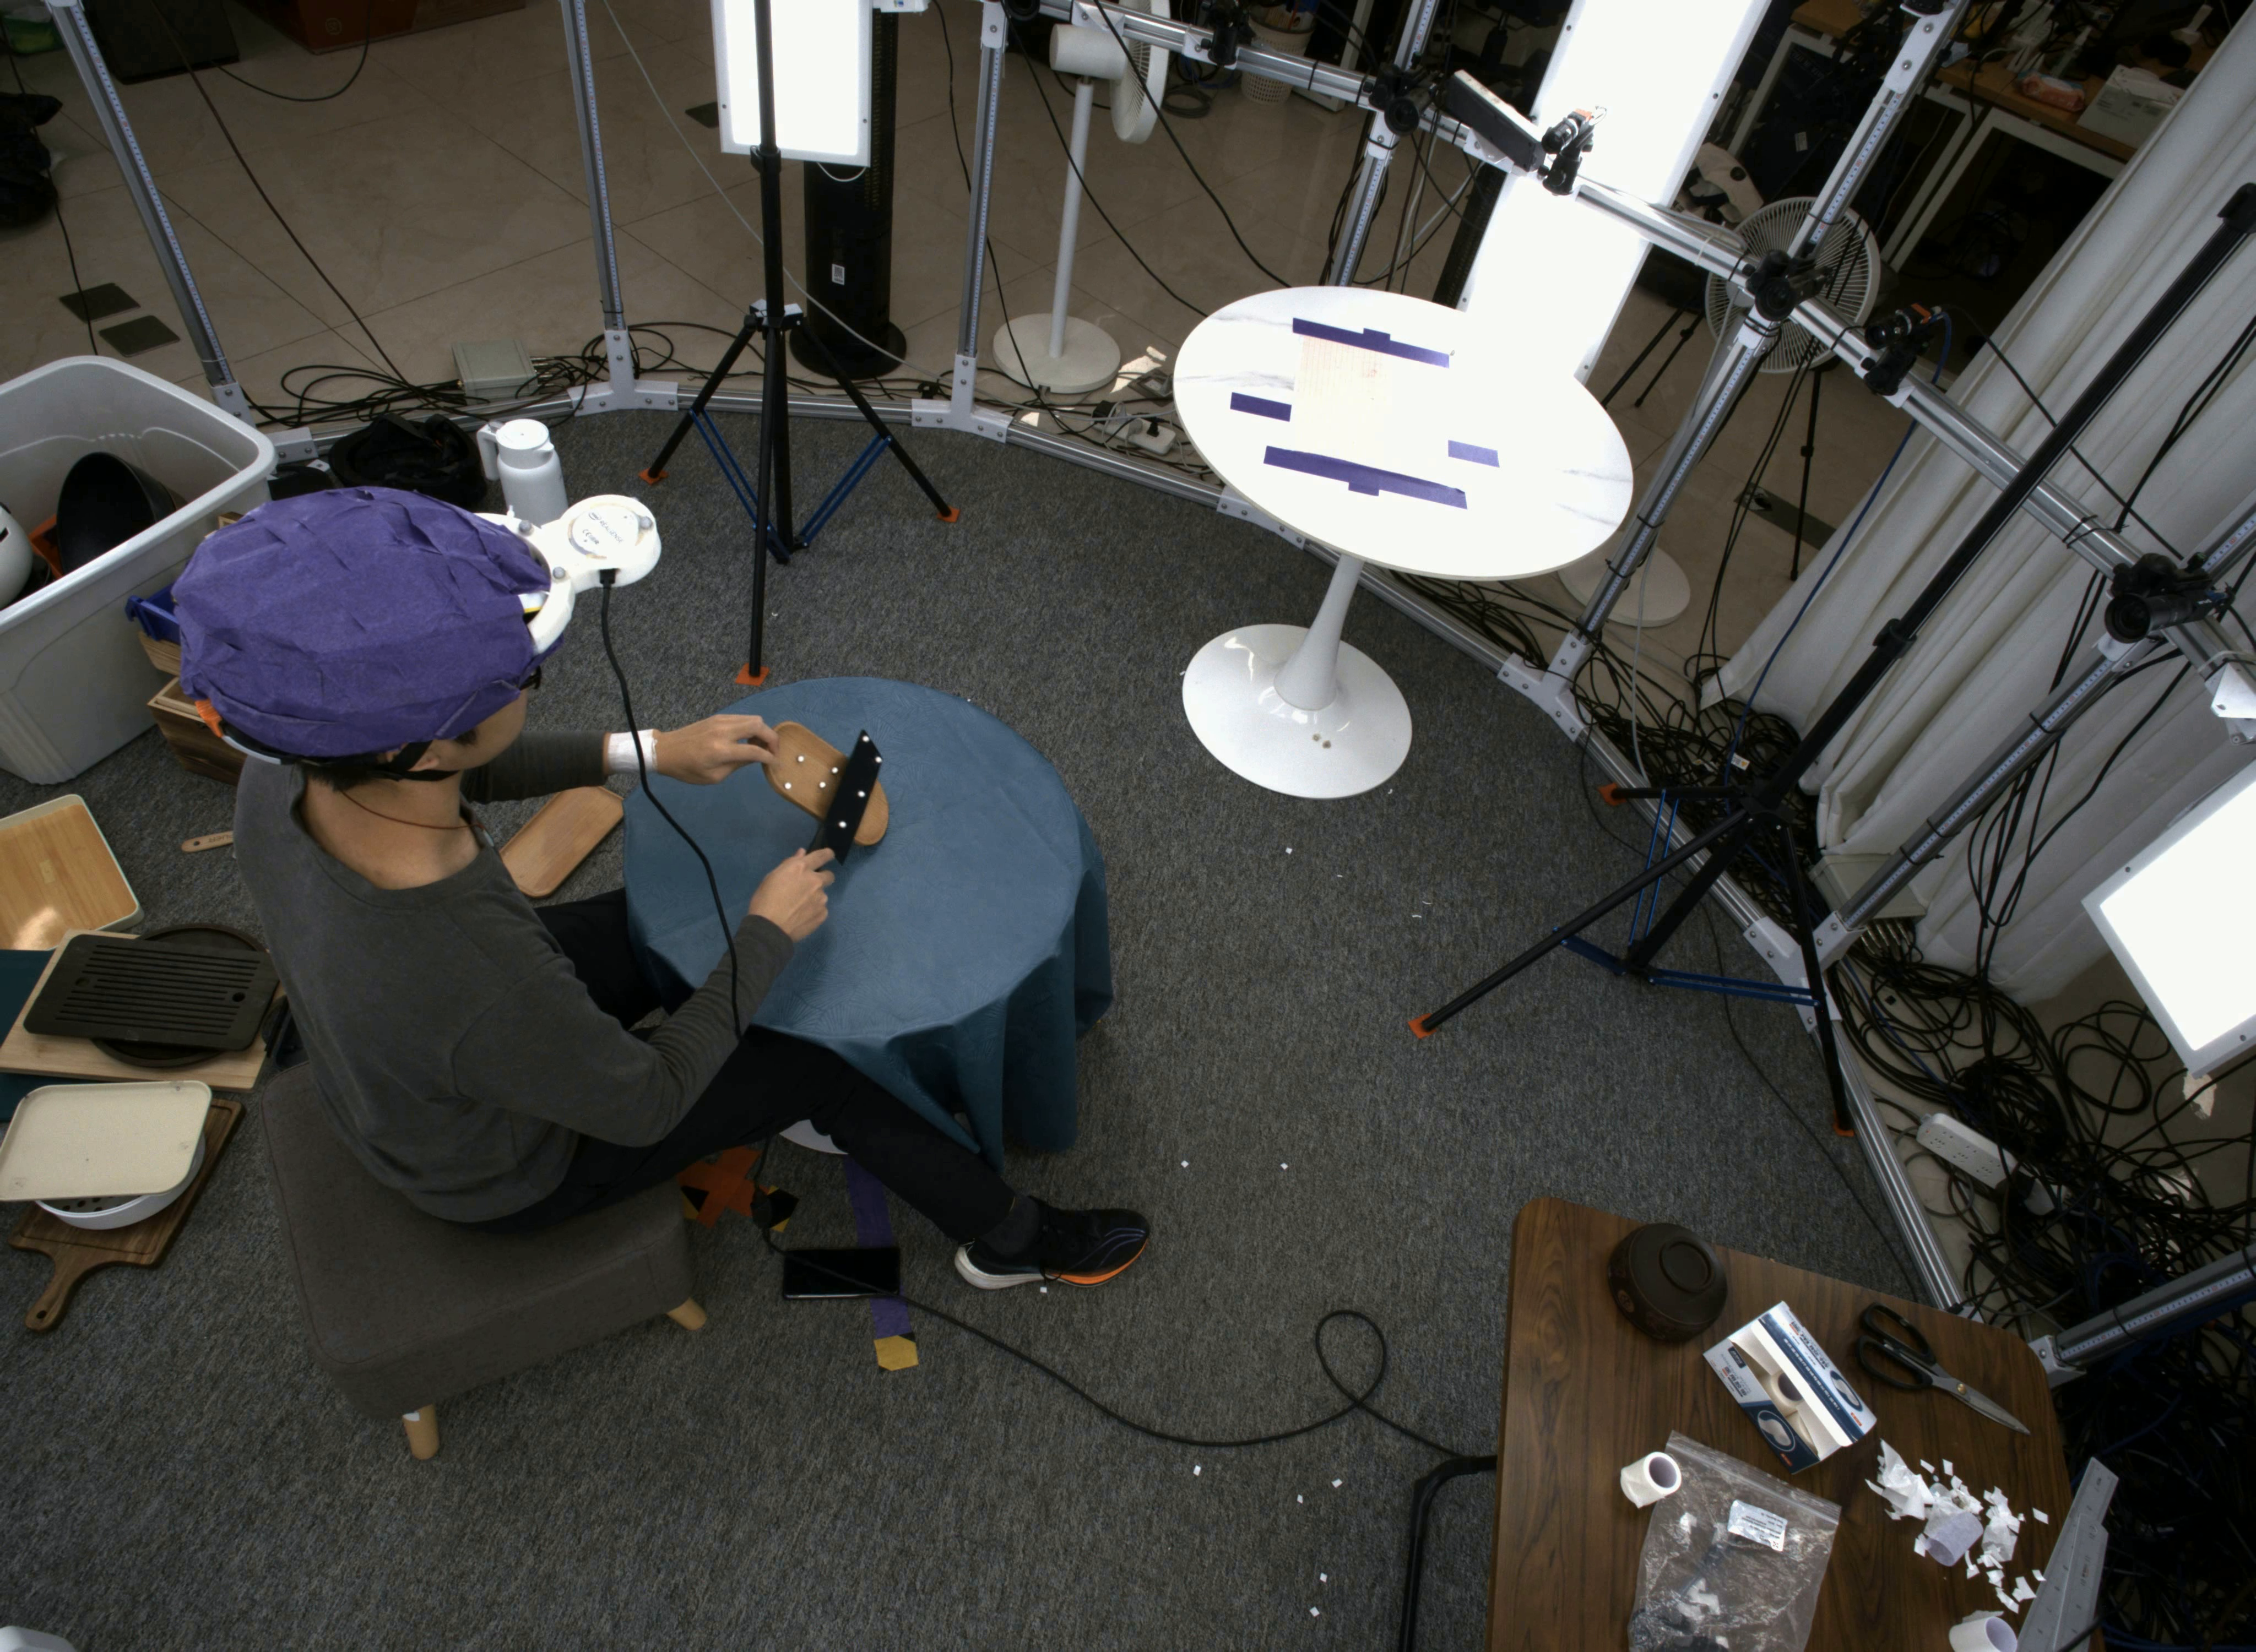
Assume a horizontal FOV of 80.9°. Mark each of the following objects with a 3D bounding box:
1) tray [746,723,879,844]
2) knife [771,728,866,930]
[{"bbox_3d":[-0.402,-0.052,1.662,0.020,0.239,0.101,-9,64,28],"label":"tray"},{"bbox_3d":[-0.388,0.003,1.641,0.020,0.084,0.298,-4,47,20],"label":"knife"}]
